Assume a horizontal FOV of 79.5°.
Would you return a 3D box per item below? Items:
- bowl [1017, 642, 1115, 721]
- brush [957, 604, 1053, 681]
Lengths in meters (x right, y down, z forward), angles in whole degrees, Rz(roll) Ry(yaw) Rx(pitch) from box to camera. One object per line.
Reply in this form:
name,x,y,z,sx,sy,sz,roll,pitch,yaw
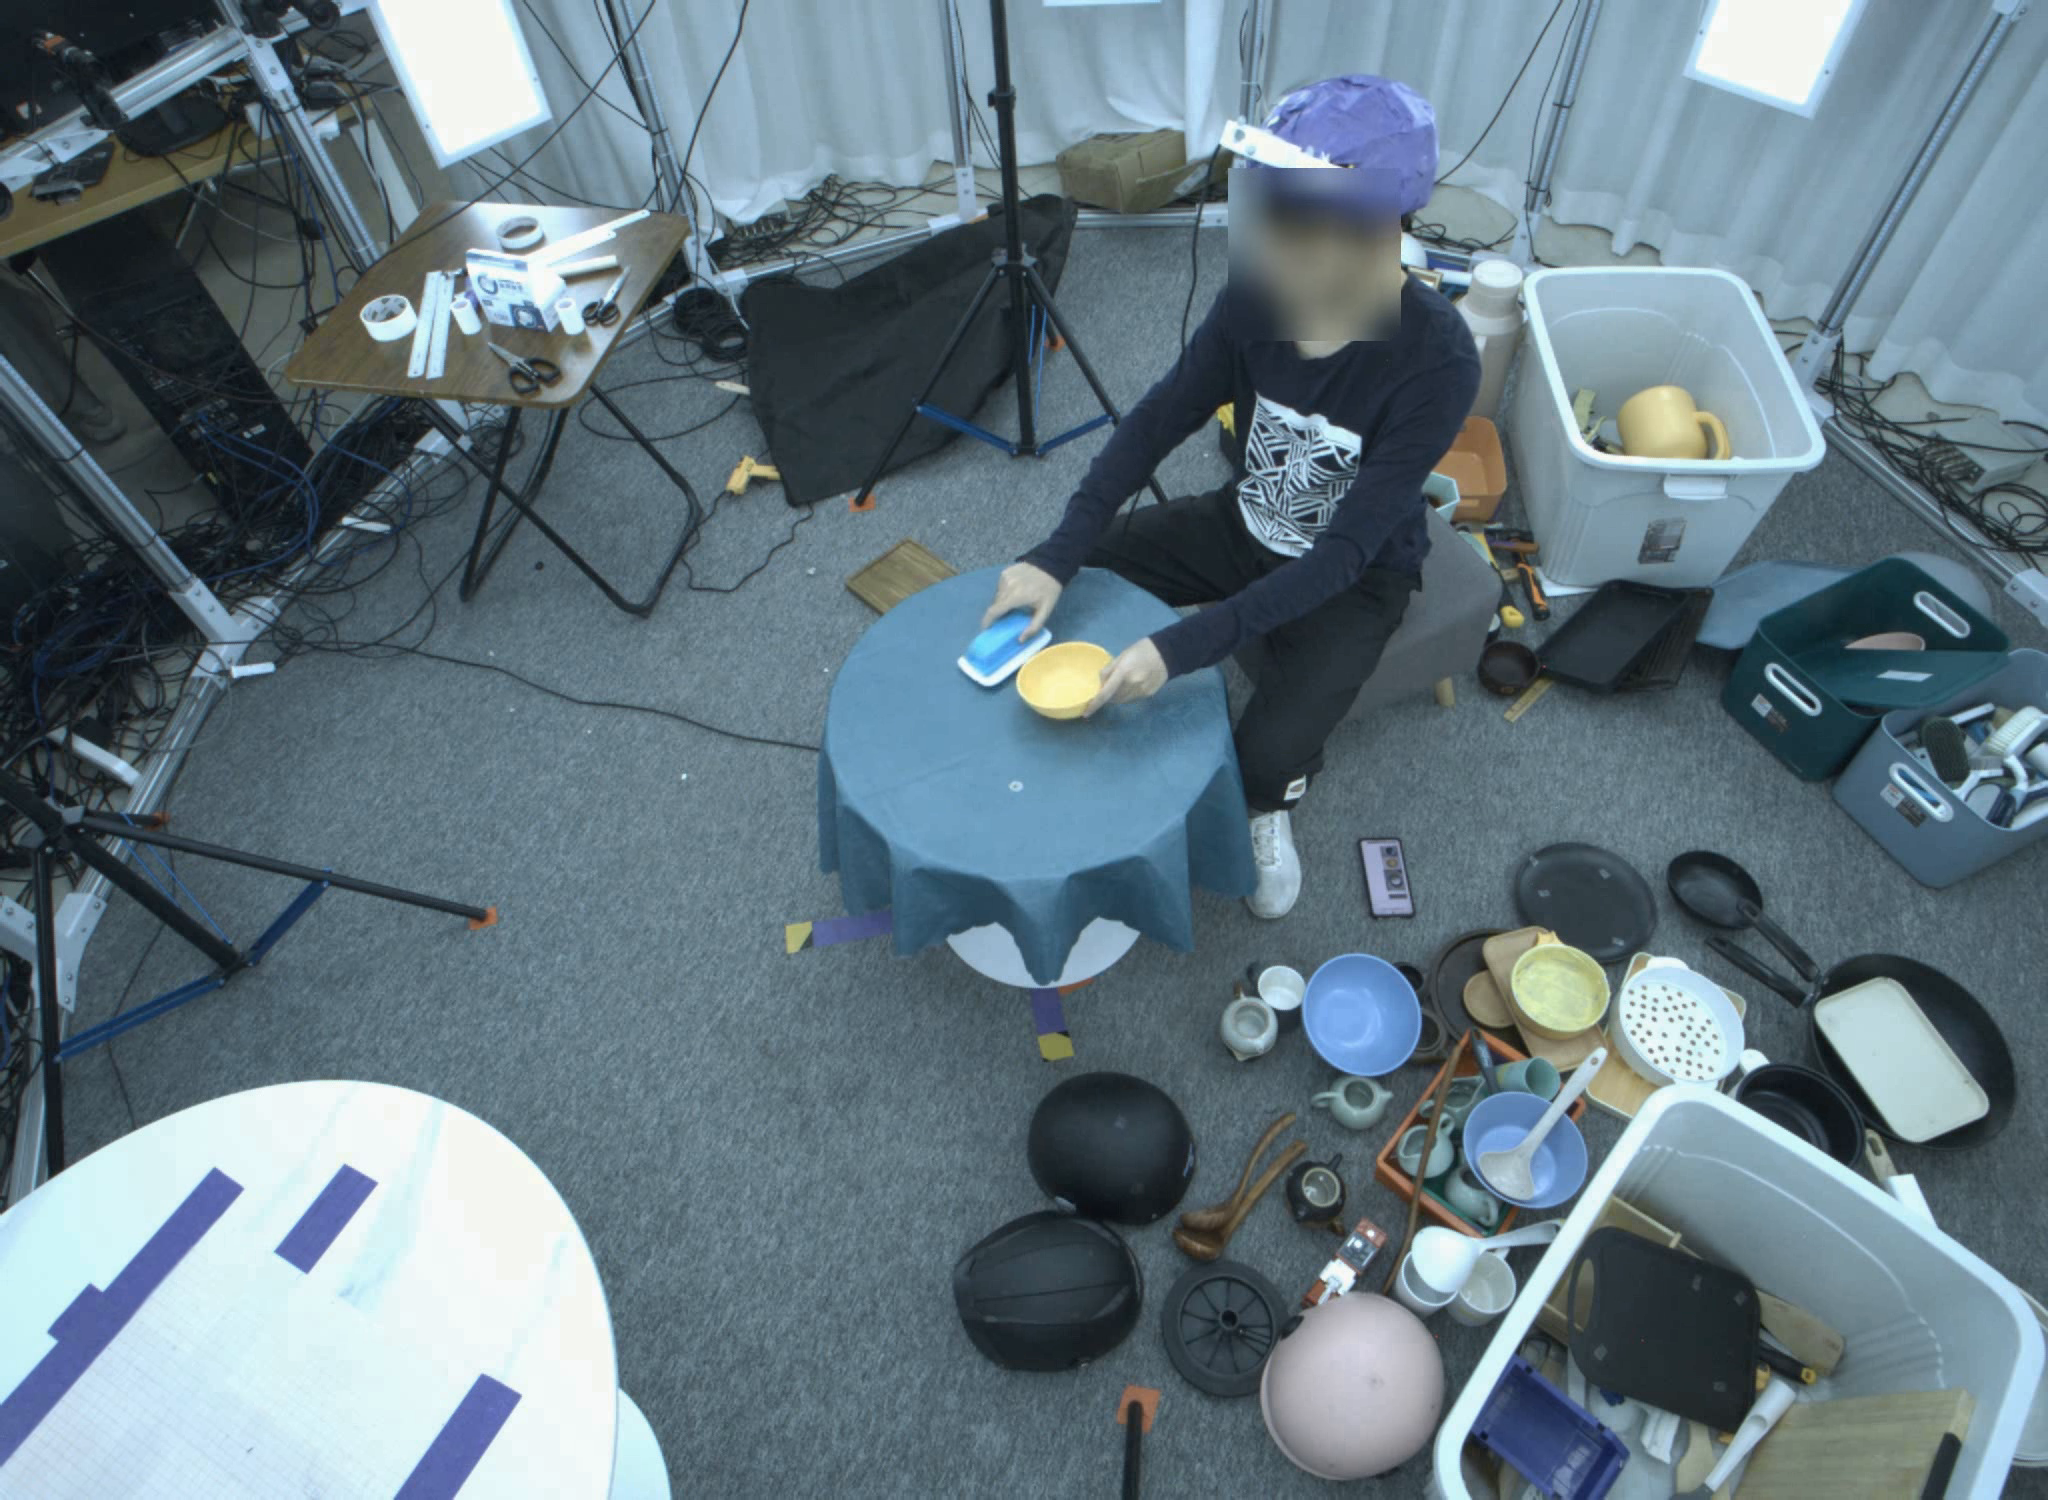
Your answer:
bowl,0.066,-0.089,1.798,0.144,0.061,0.144,-7,47,8
brush,-0.030,-0.171,1.860,0.145,0.056,0.082,-39,63,-18
